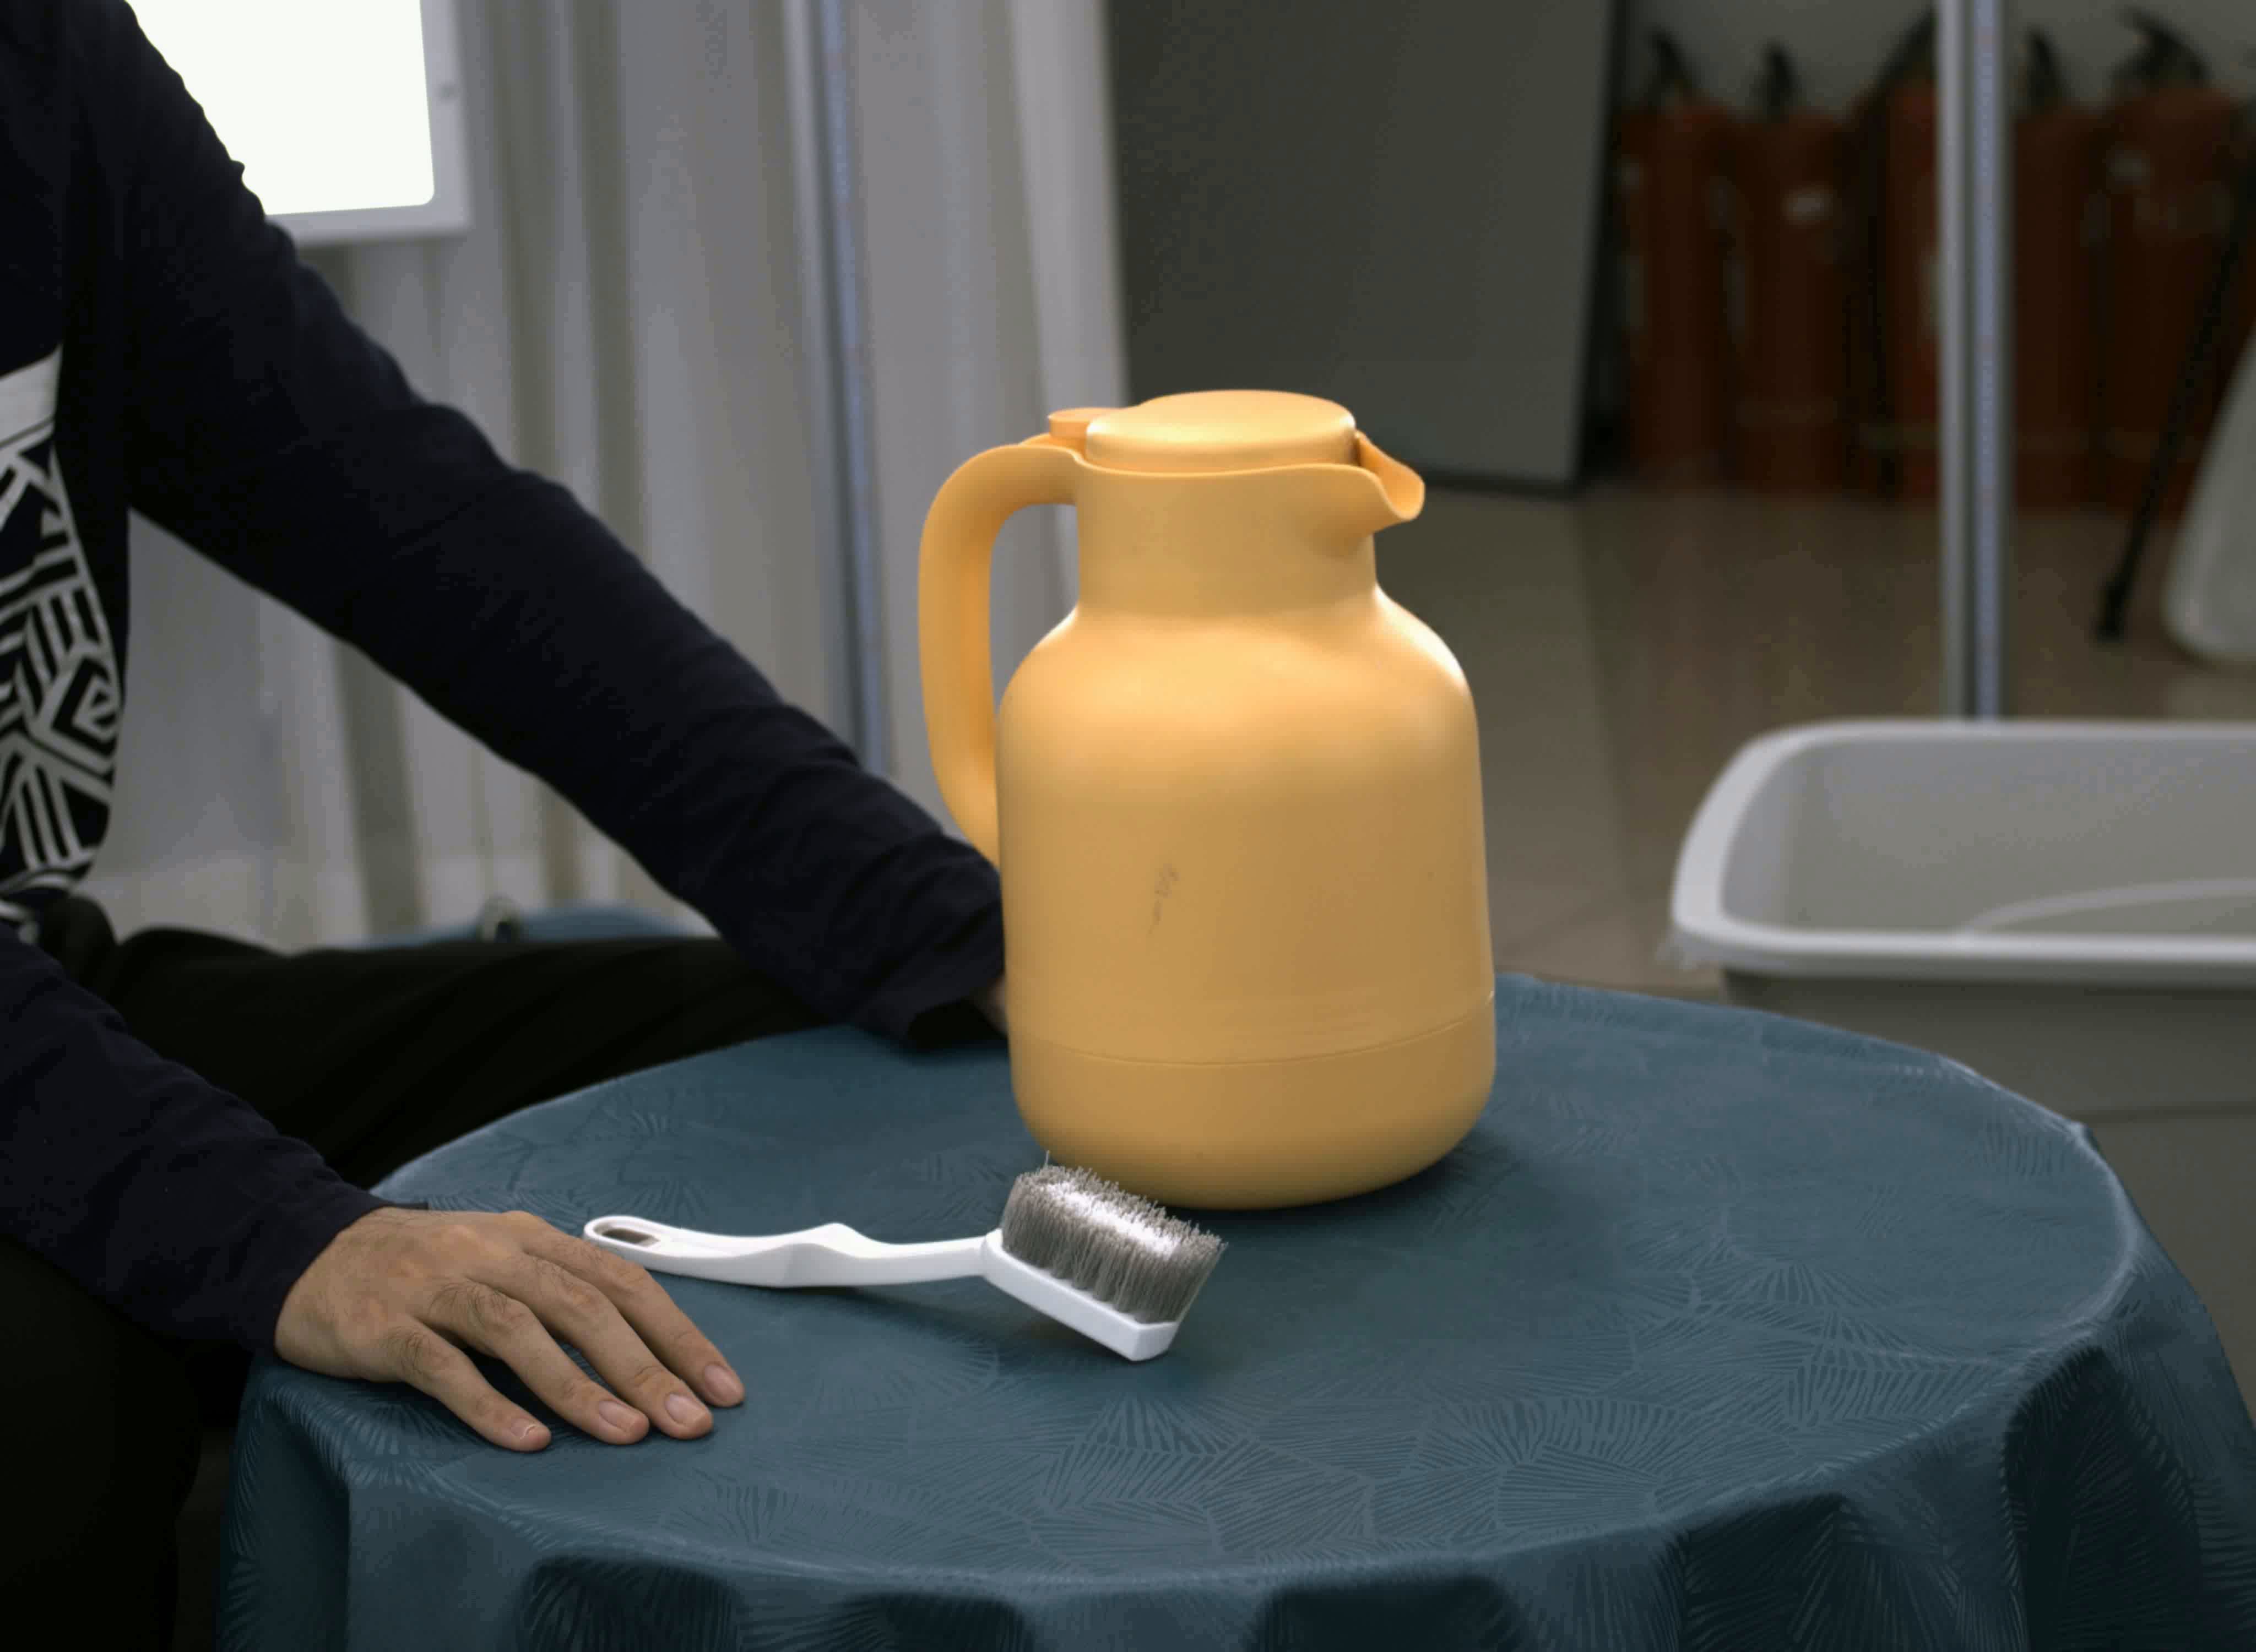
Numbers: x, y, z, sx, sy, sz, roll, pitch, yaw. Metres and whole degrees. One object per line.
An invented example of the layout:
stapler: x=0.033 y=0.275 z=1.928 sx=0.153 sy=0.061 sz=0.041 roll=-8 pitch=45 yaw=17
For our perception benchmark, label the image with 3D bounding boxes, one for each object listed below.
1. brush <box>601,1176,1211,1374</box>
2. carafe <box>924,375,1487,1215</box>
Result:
brush: x=-0.075 y=0.126 z=1.679 sx=0.245 sy=0.051 sz=0.034 roll=7 pitch=21 yaw=39
carafe: x=0.021 y=-0.016 z=1.778 sx=0.204 sy=0.263 sz=0.160 roll=8 pitch=15 yaw=38
